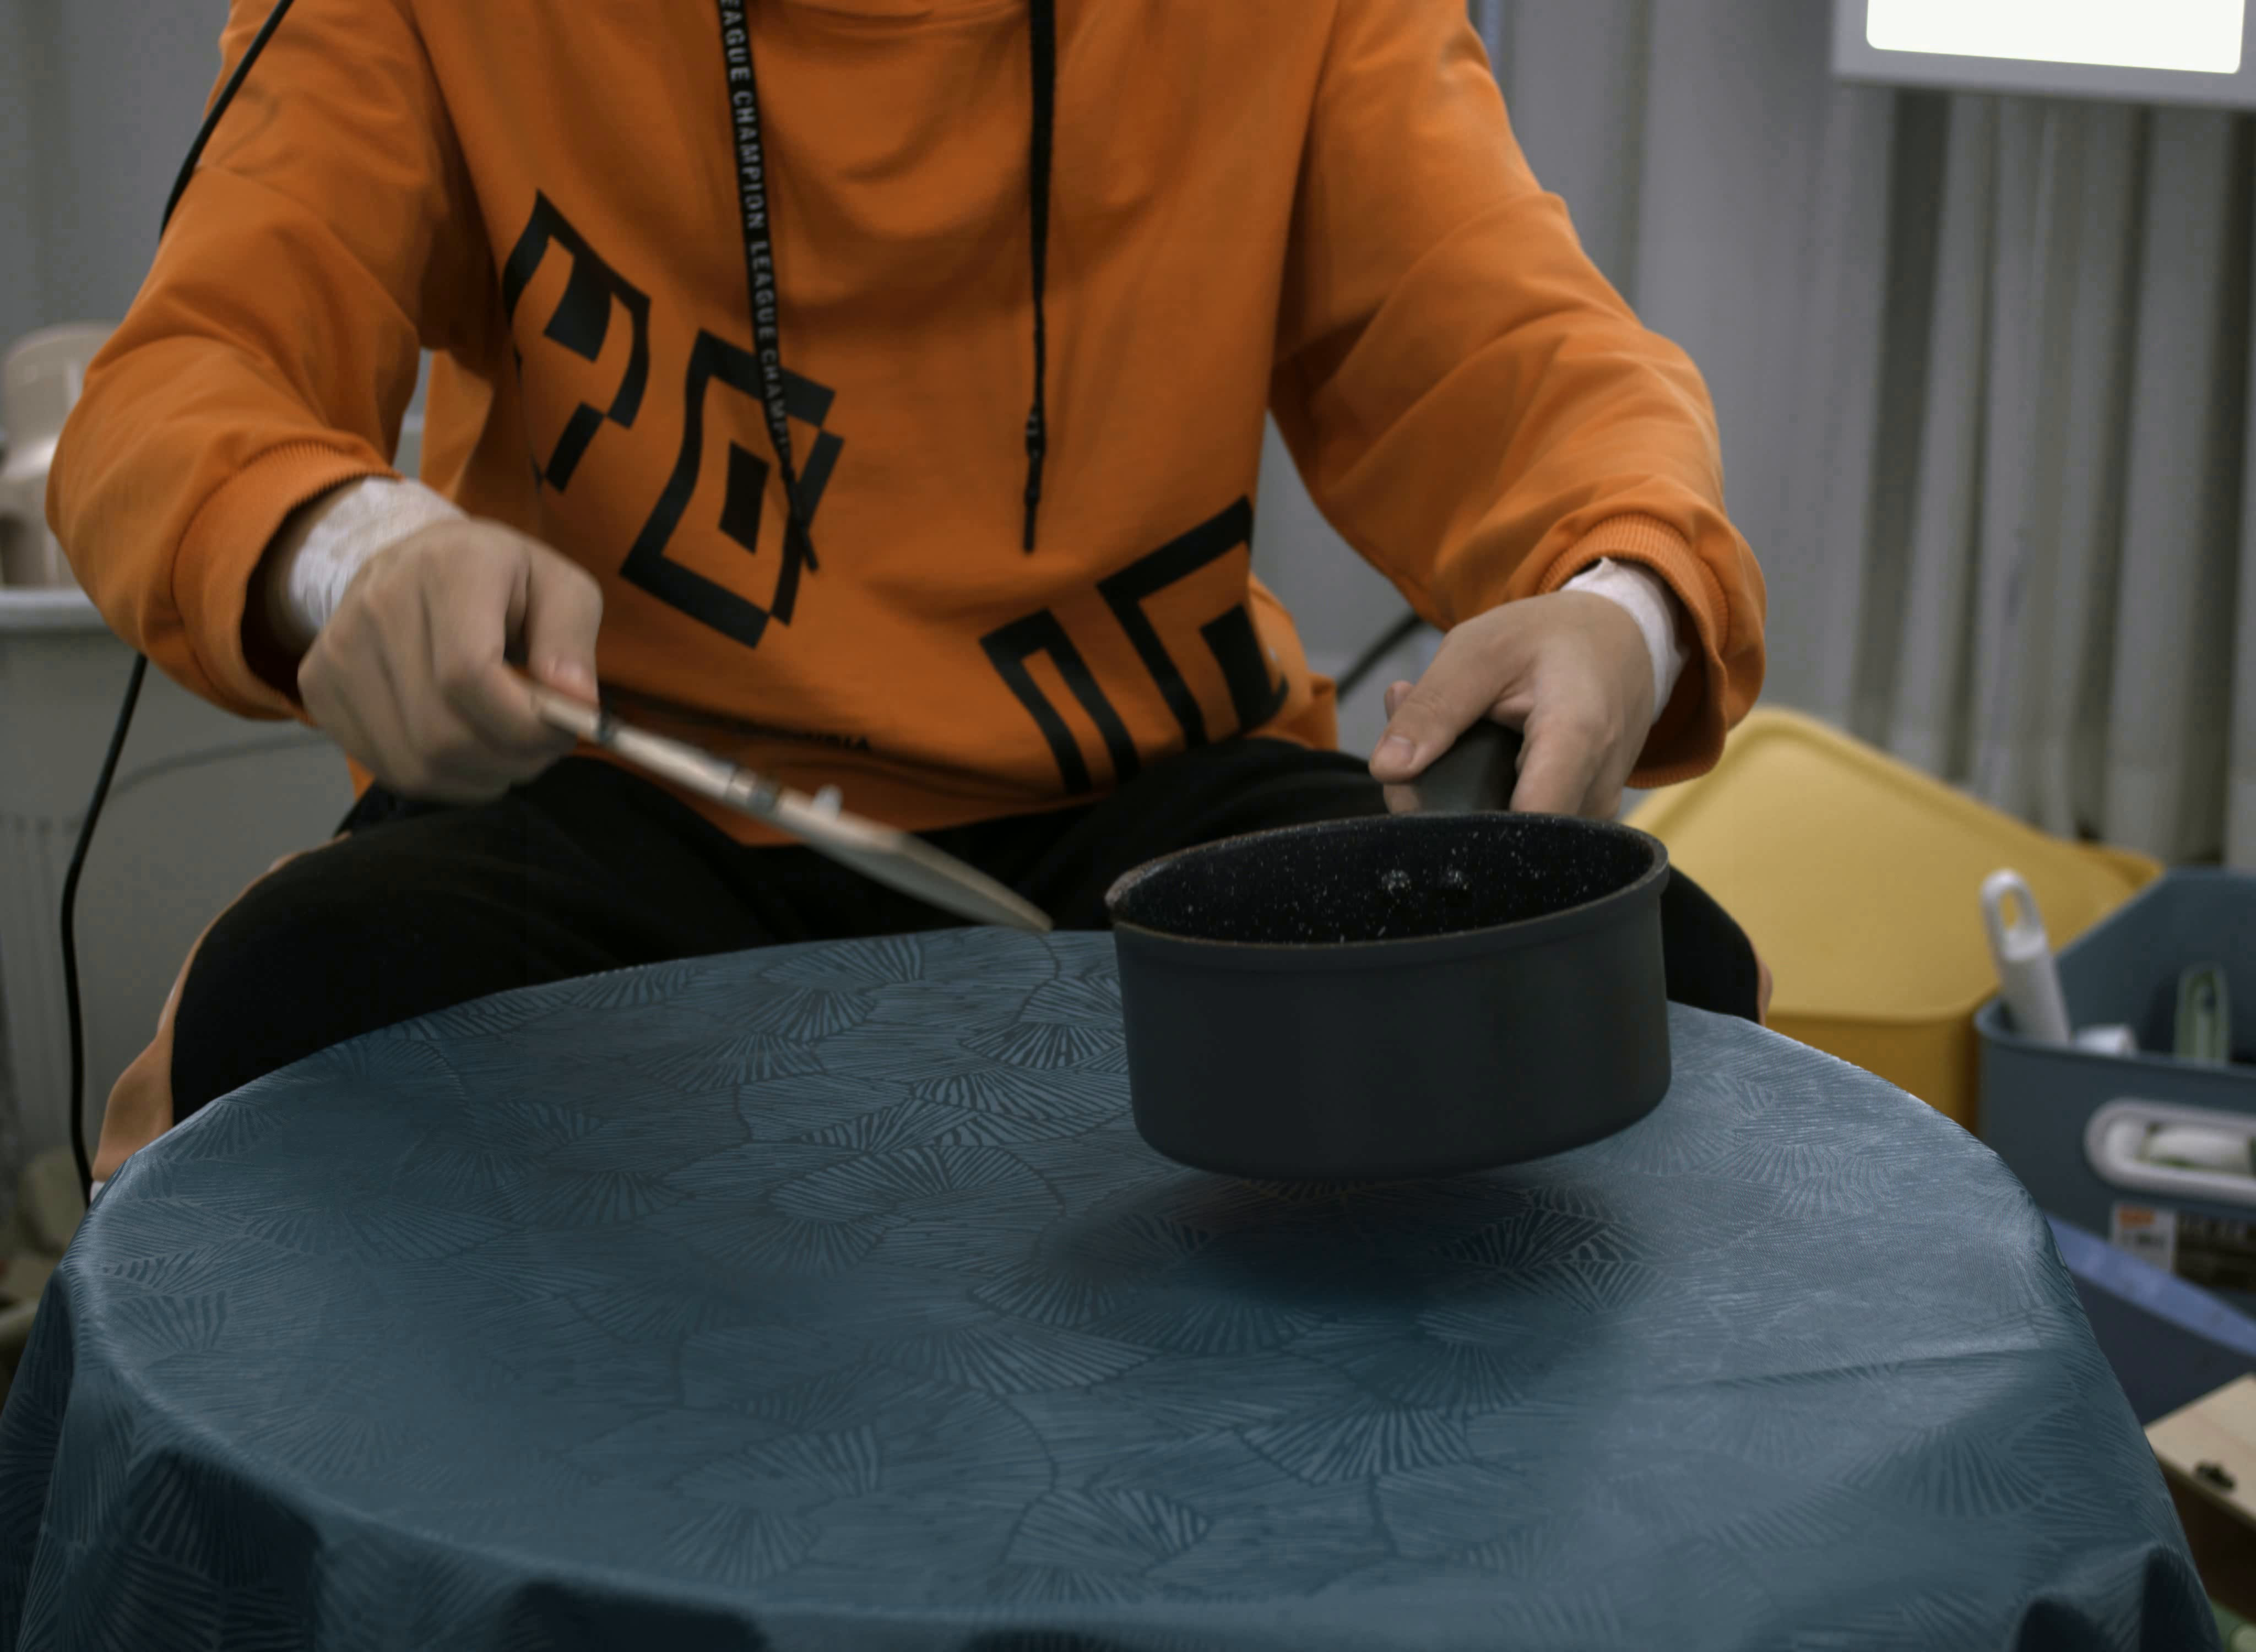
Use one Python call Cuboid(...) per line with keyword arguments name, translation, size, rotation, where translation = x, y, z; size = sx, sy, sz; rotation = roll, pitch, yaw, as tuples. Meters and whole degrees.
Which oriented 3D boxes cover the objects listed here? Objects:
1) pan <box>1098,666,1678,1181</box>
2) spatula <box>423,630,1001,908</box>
Cuboid(name="pan", translation=(0.098, 0.027, 1.654), size=(0.171, 0.087, 0.328), rotation=(-1, 14, 14))
Cuboid(name="spatula", translation=(-0.141, -0.024, 1.598), size=(0.073, 0.010, 0.289), rotation=(30, -4, -38))
